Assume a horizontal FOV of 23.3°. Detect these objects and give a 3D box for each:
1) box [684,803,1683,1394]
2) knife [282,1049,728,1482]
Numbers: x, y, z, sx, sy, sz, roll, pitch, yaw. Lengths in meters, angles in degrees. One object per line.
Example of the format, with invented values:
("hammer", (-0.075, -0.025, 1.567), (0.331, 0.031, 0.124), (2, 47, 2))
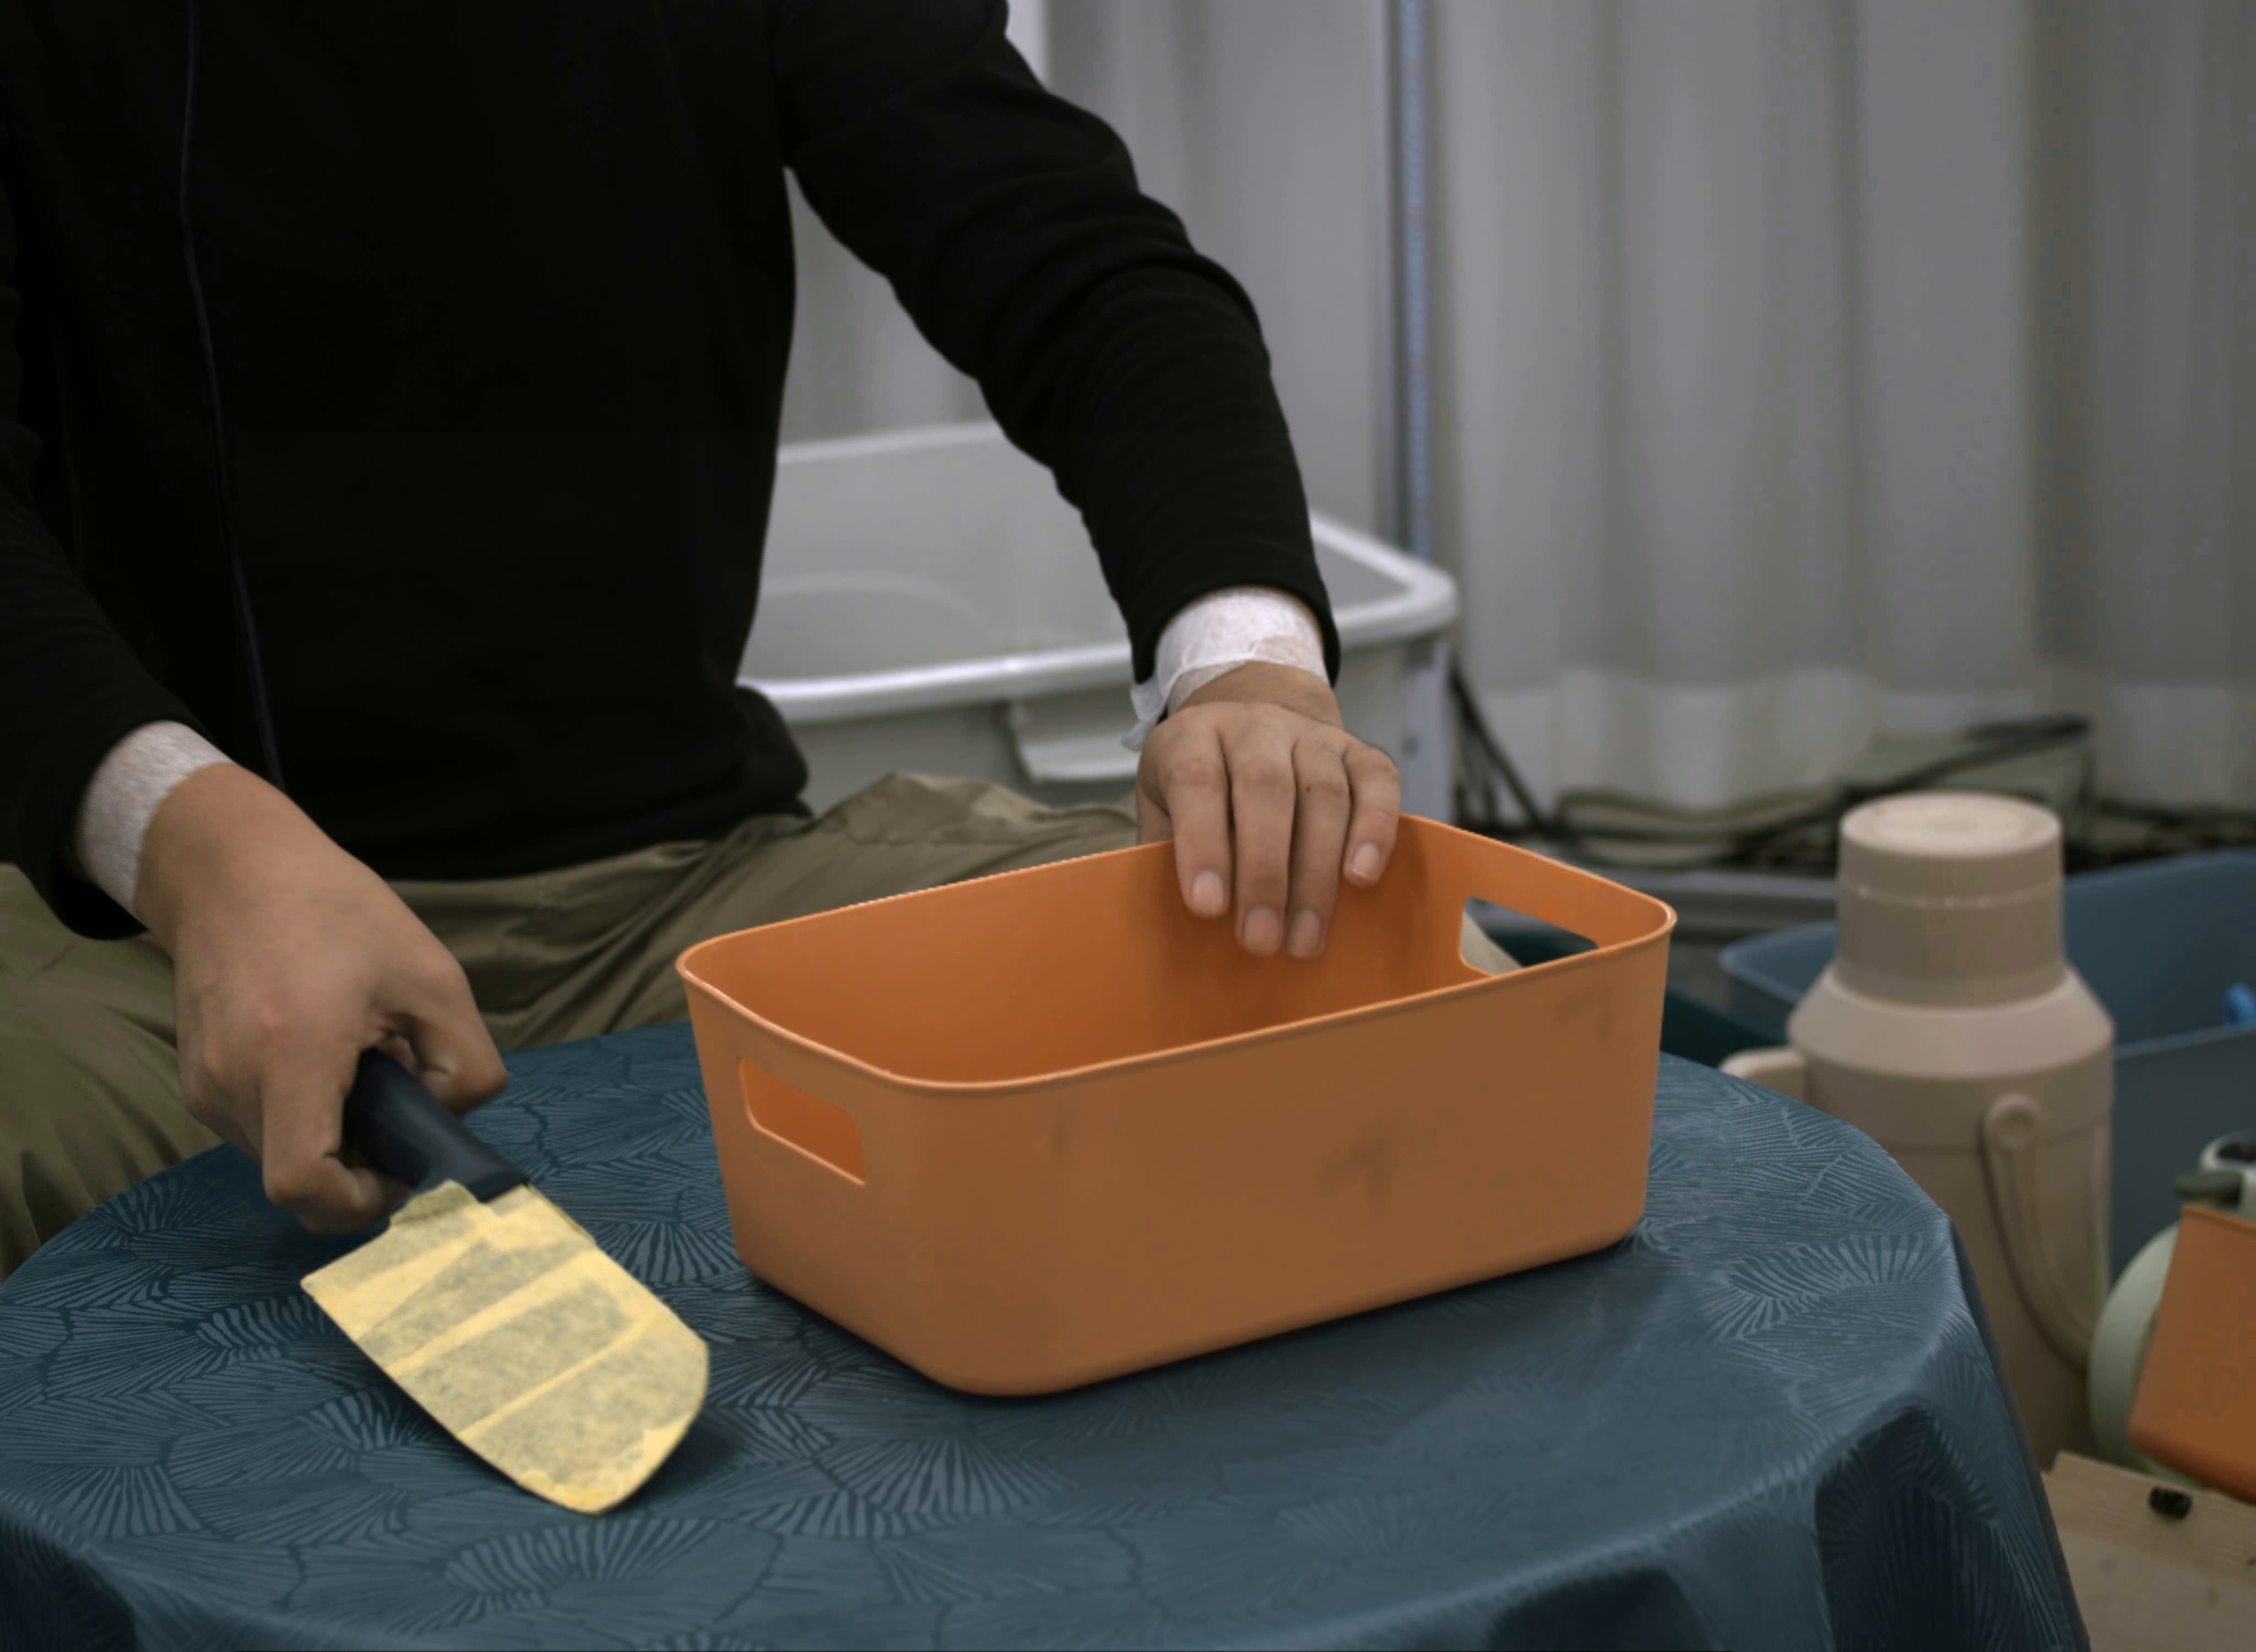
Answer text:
("box", (0.017, 0.079, 1.644), (0.272, 0.102, 0.201), (-11, 18, -29))
("knife", (-0.196, 0.128, 1.596), (0.081, 0.027, 0.292), (-21, 28, -22))
